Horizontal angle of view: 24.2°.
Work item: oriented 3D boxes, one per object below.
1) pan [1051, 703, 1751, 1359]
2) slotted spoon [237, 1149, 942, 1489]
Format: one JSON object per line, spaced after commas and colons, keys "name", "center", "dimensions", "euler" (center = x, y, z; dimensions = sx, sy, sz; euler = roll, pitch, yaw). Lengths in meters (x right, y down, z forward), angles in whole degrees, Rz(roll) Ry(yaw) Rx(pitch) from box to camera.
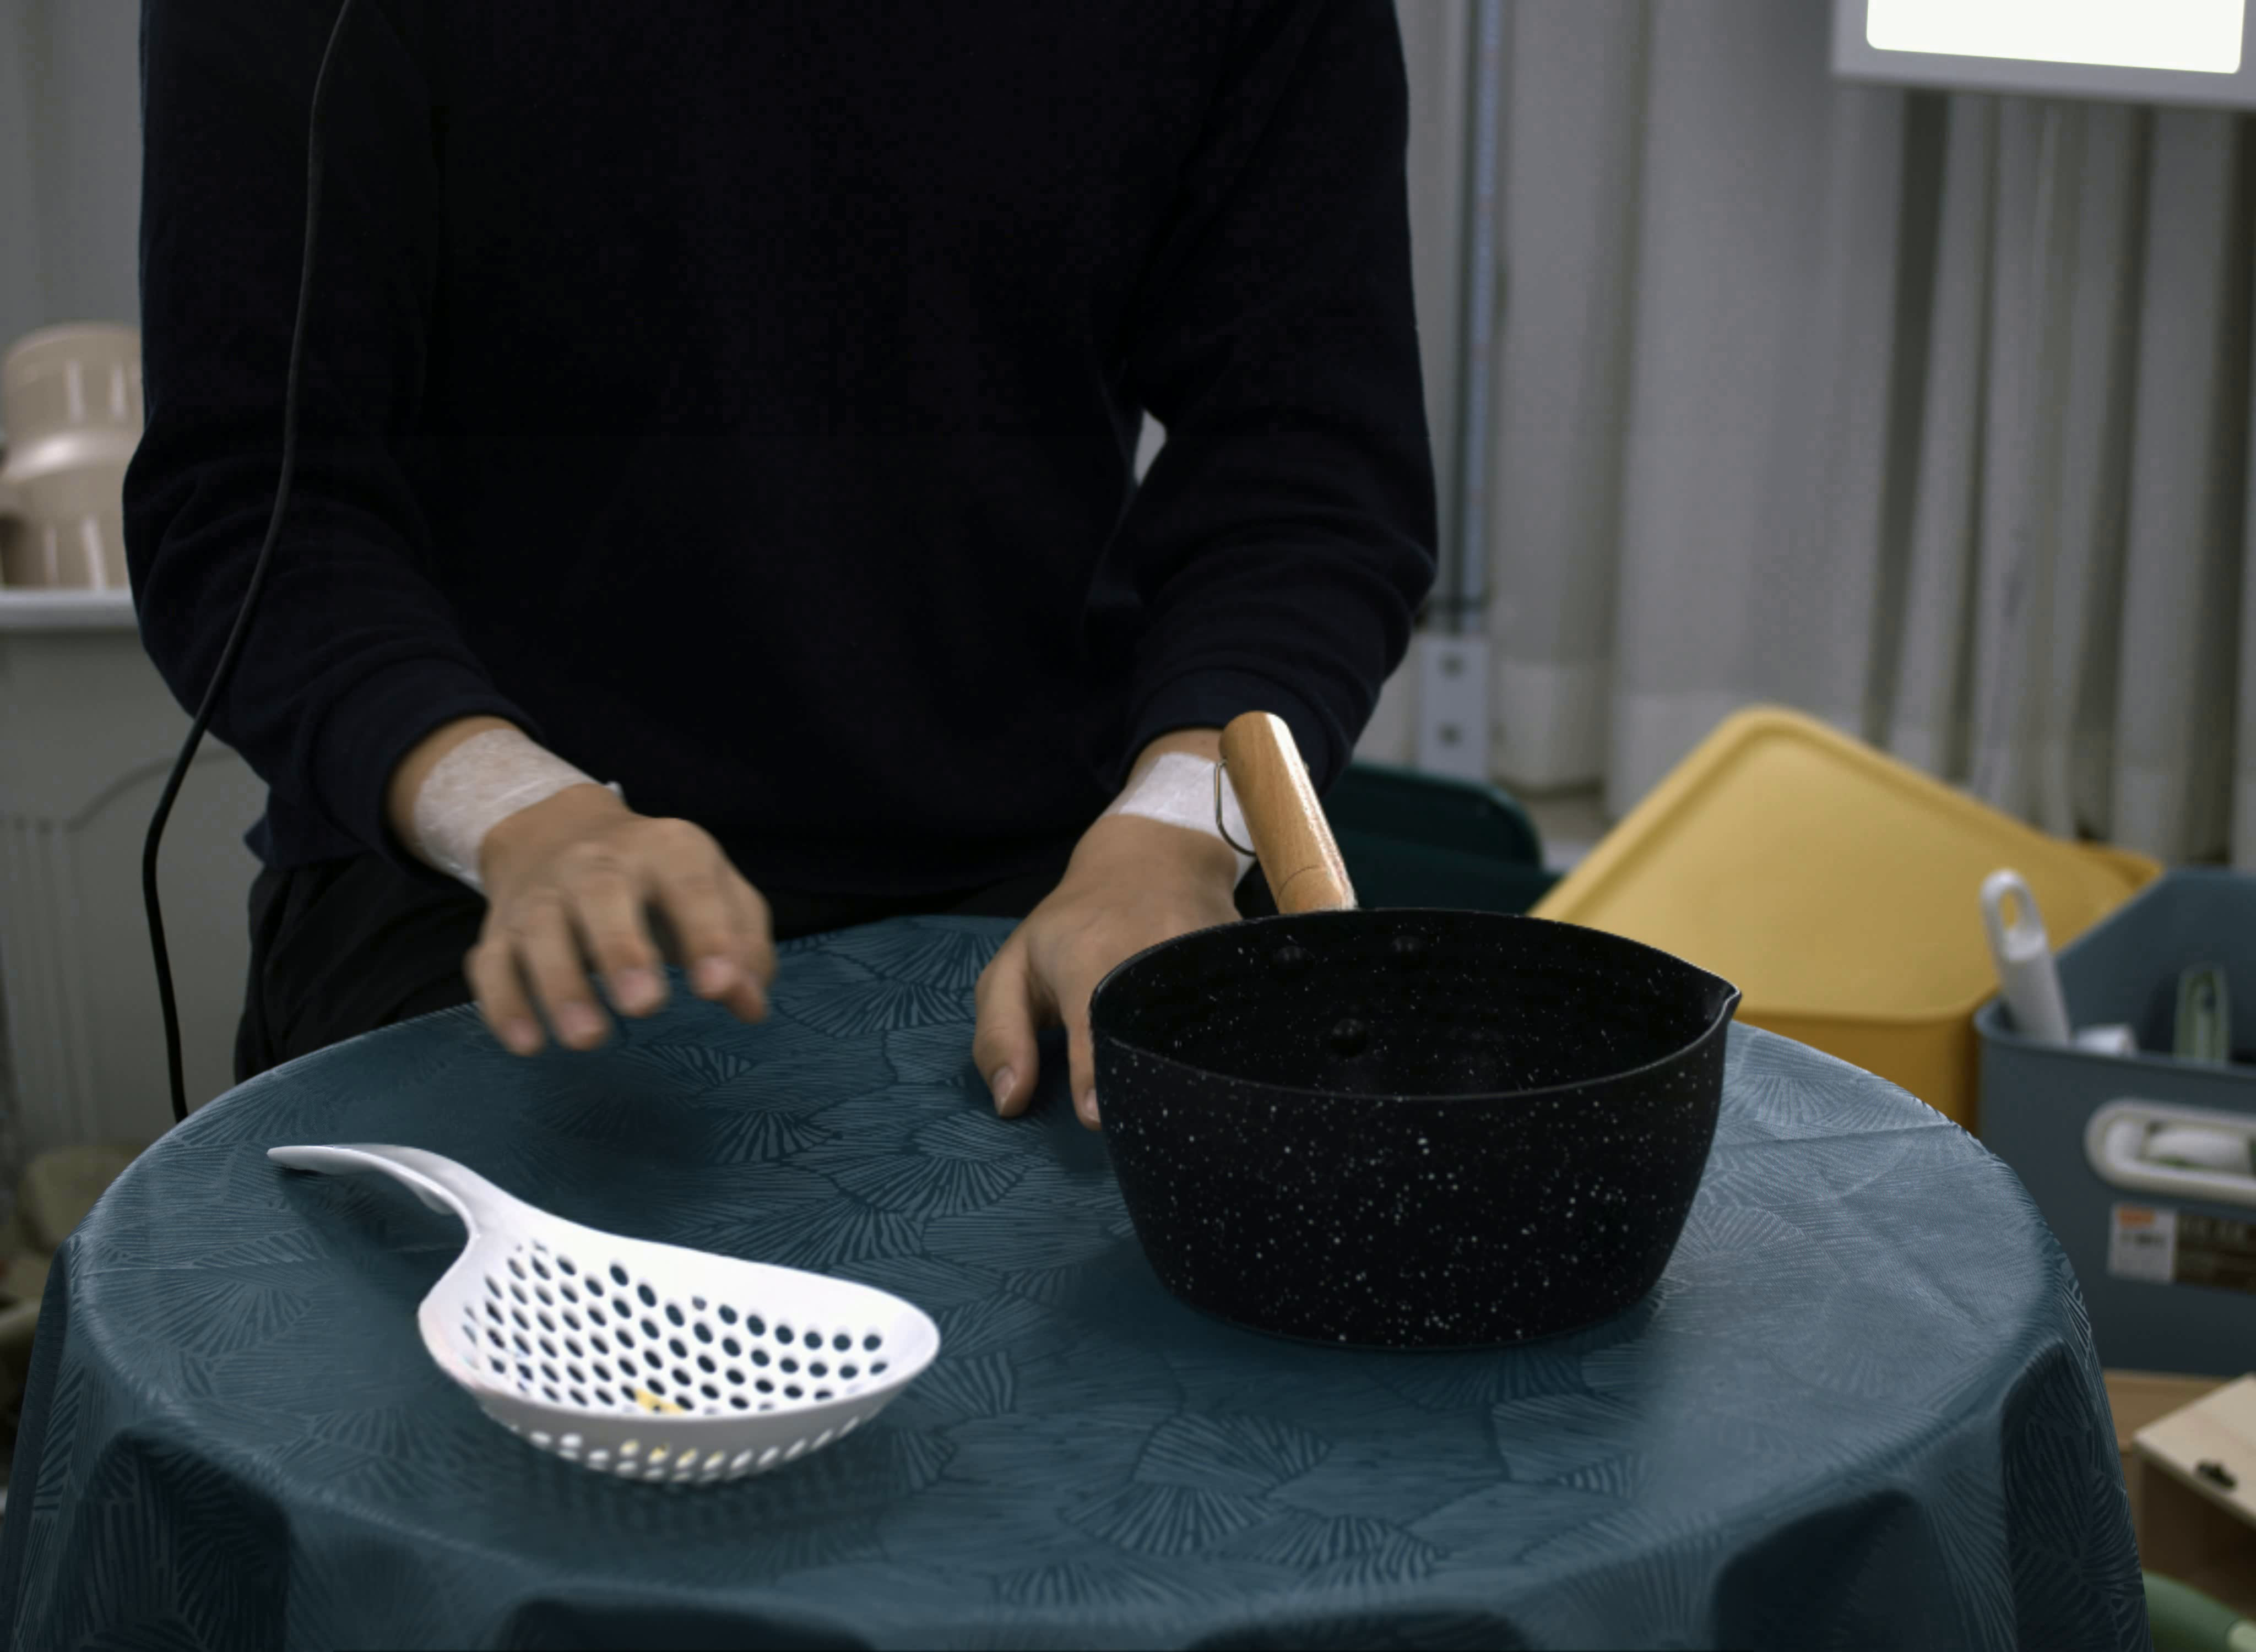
{"name": "pan", "center": [0.068, 0.057, 1.619], "dimensions": [0.207, 0.109, 0.339], "euler": [-4, 17, -10]}
{"name": "slotted spoon", "center": [-0.175, 0.125, 1.492], "dimensions": [0.137, 0.051, 0.343], "euler": [-7, 19, -30]}
